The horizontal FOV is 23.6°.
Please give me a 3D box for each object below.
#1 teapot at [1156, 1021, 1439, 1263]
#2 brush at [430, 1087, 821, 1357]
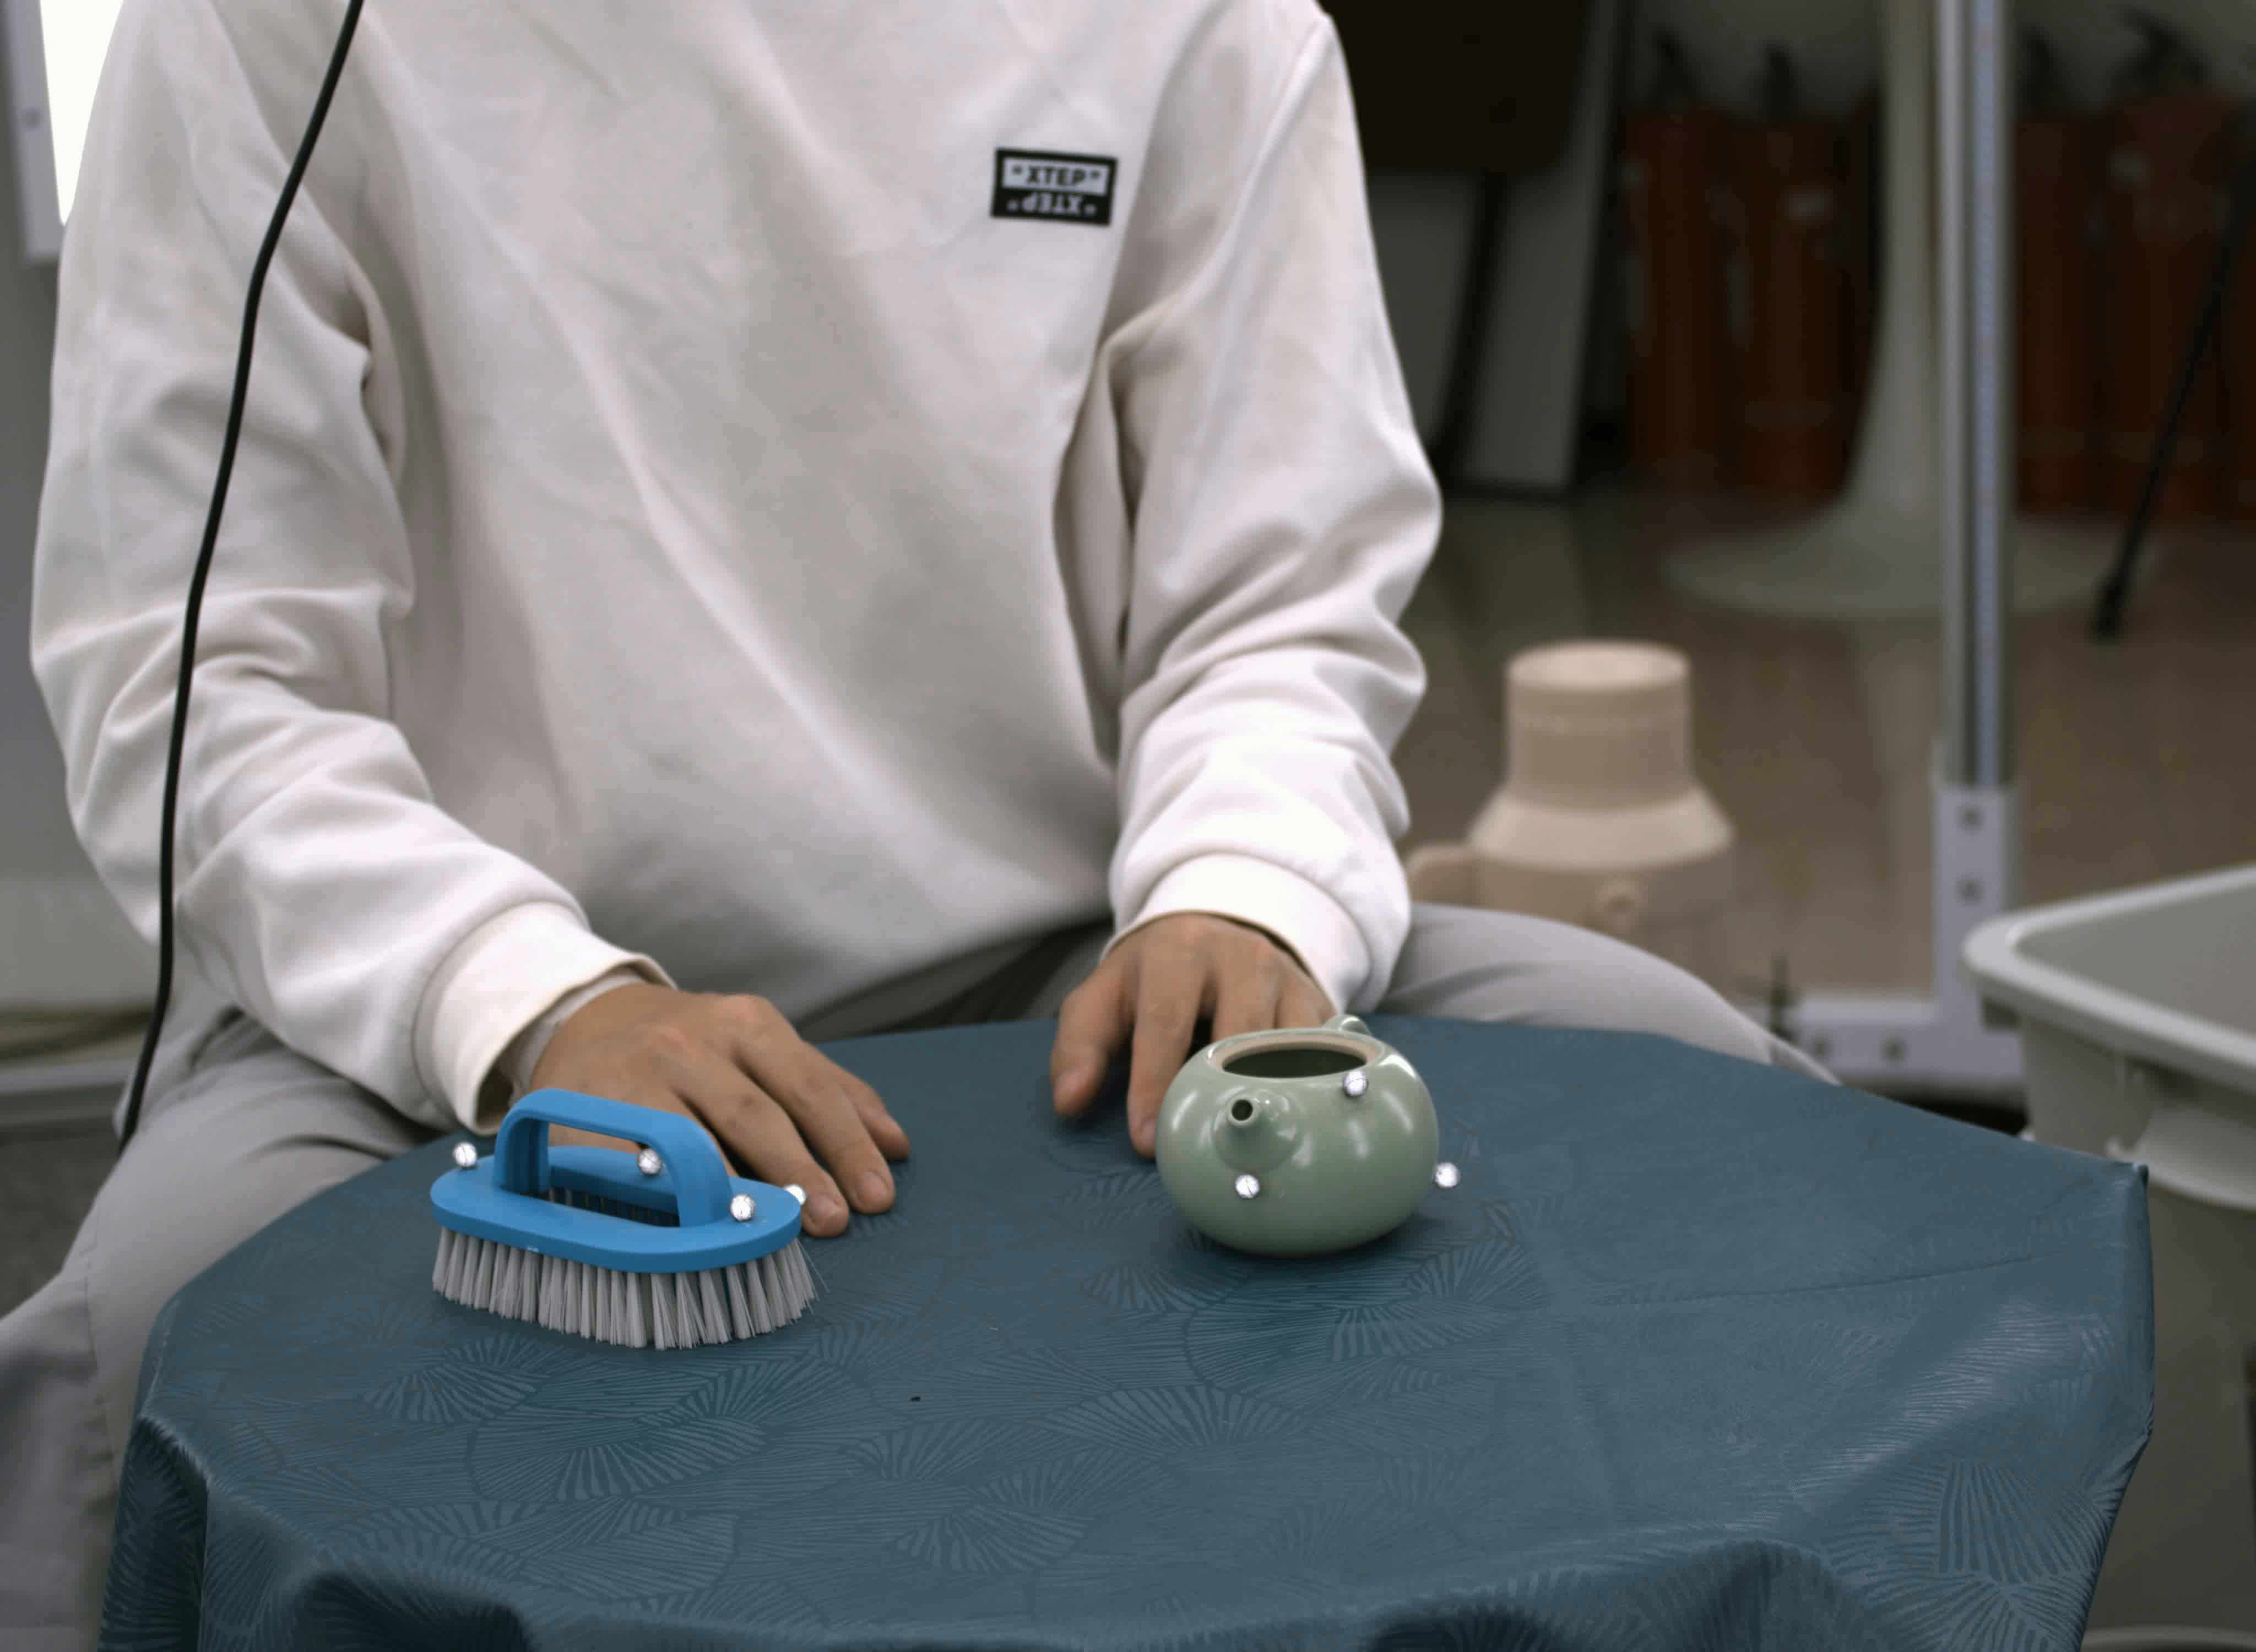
[{"bbox_3d":[0.058,0.100,1.724,0.091,0.061,0.127,0,11,27],"label":"teapot"},{"bbox_3d":[-0.162,0.117,1.699,0.143,0.064,0.083,8,22,43],"label":"brush"}]
